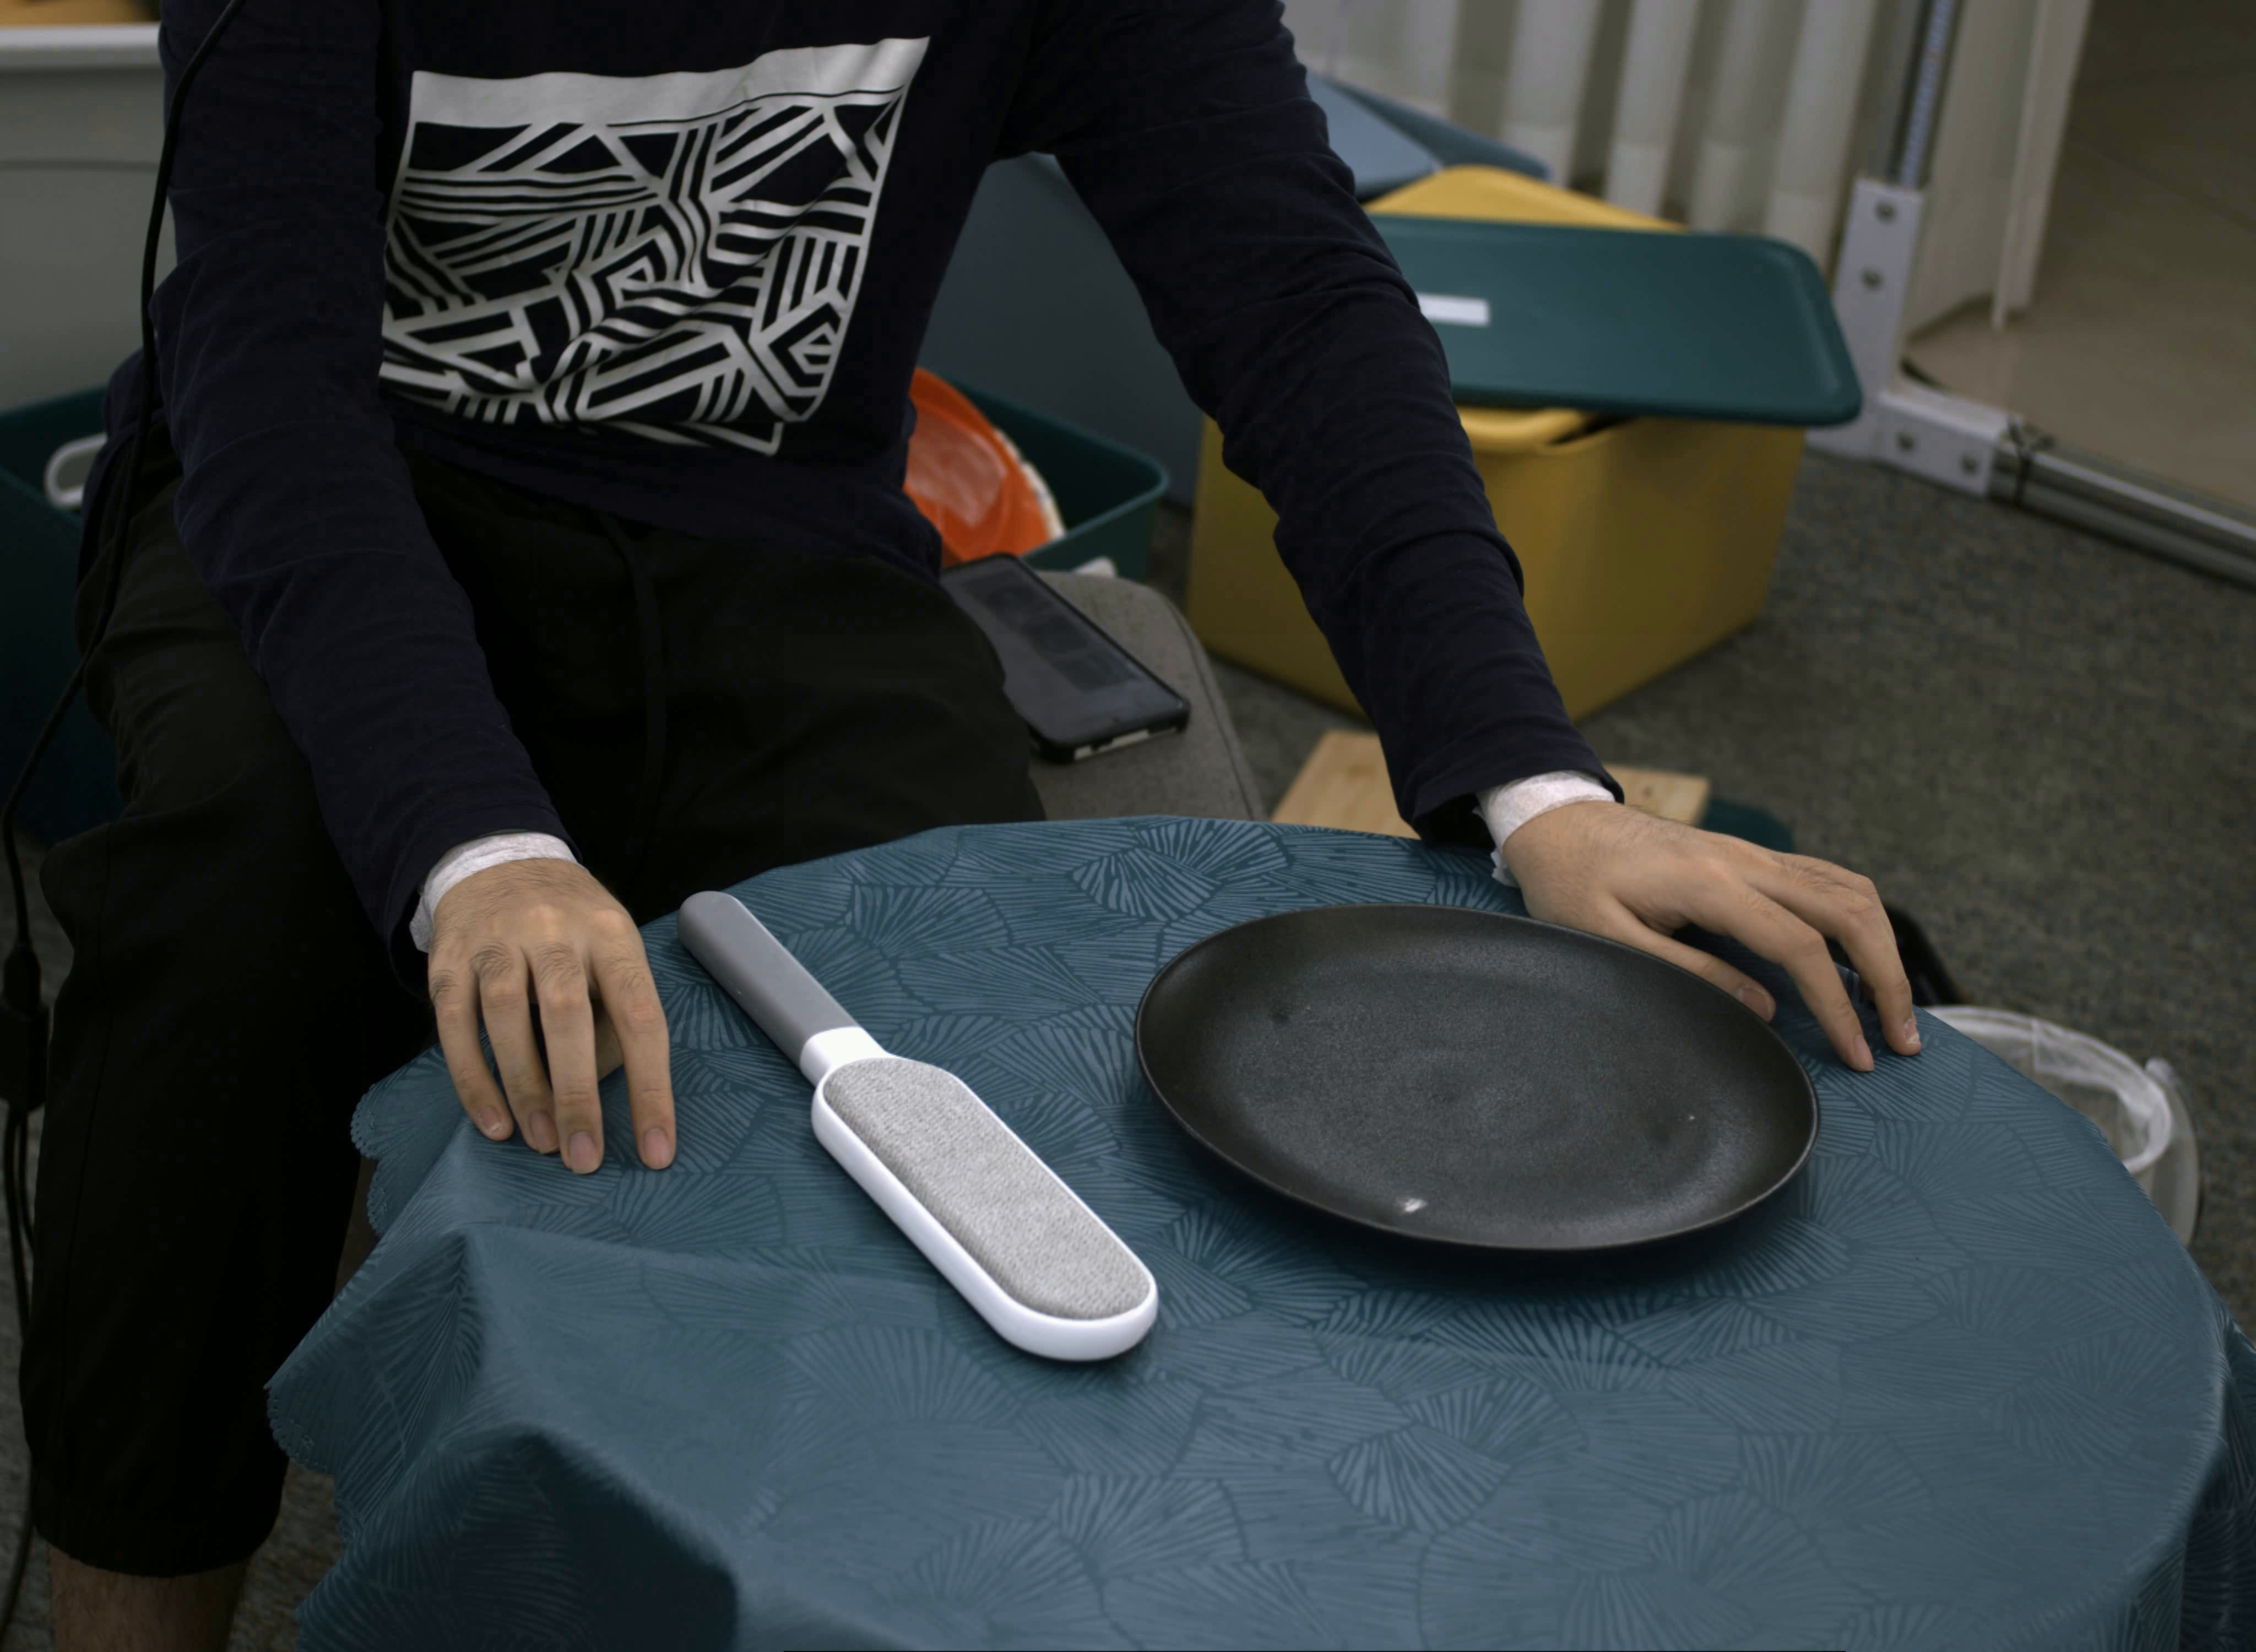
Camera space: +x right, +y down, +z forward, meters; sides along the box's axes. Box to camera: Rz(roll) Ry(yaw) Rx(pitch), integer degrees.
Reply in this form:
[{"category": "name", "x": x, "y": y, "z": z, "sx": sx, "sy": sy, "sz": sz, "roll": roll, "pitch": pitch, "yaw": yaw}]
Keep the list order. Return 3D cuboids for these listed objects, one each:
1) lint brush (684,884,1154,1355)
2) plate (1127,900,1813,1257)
[{"category": "lint brush", "x": -0.079, "y": 0.095, "z": 1.815, "sx": 0.060, "sy": 0.021, "sz": 0.312, "roll": -14, "pitch": 33, "yaw": -25}, {"category": "plate", "x": 0.118, "y": 0.092, "z": 1.869, "sx": 0.243, "sy": 0.023, "sz": 0.246, "roll": 5, "pitch": 27, "yaw": -3}]
